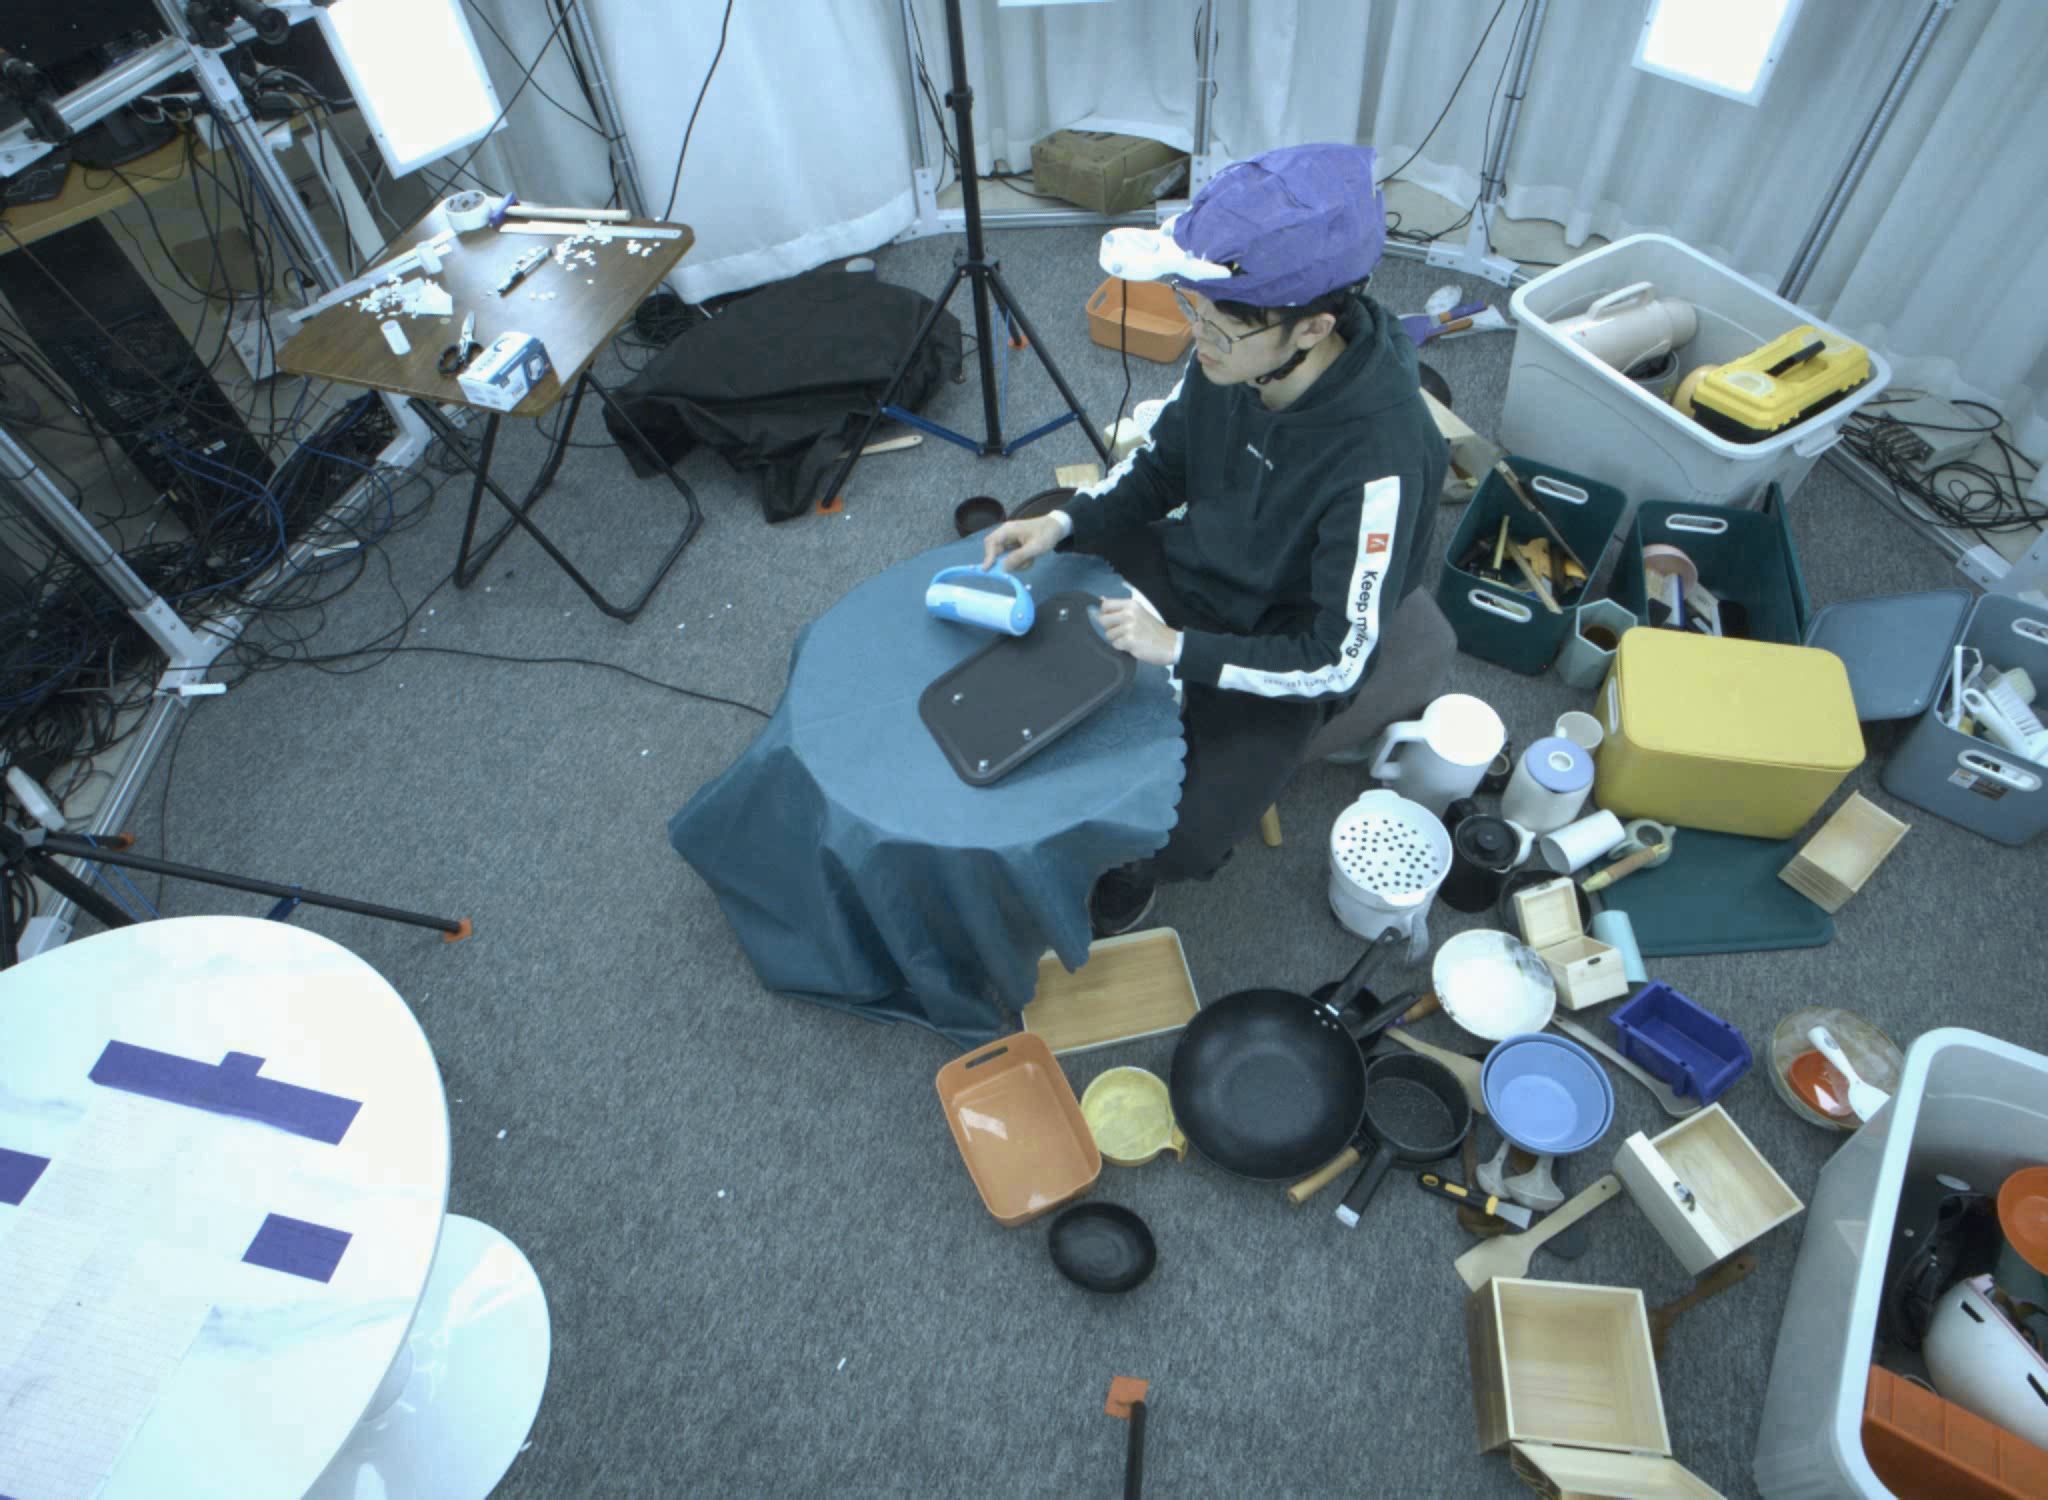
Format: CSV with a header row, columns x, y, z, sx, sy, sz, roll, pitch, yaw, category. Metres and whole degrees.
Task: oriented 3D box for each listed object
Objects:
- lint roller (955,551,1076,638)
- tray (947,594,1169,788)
x,y,z,sx,sy,sz,roll,pitch,yaw,category
0.009,-0.257,1.874,0.223,0.069,0.180,16,62,44,lint roller
0.050,-0.095,1.783,0.325,0.010,0.207,-34,59,1,tray
